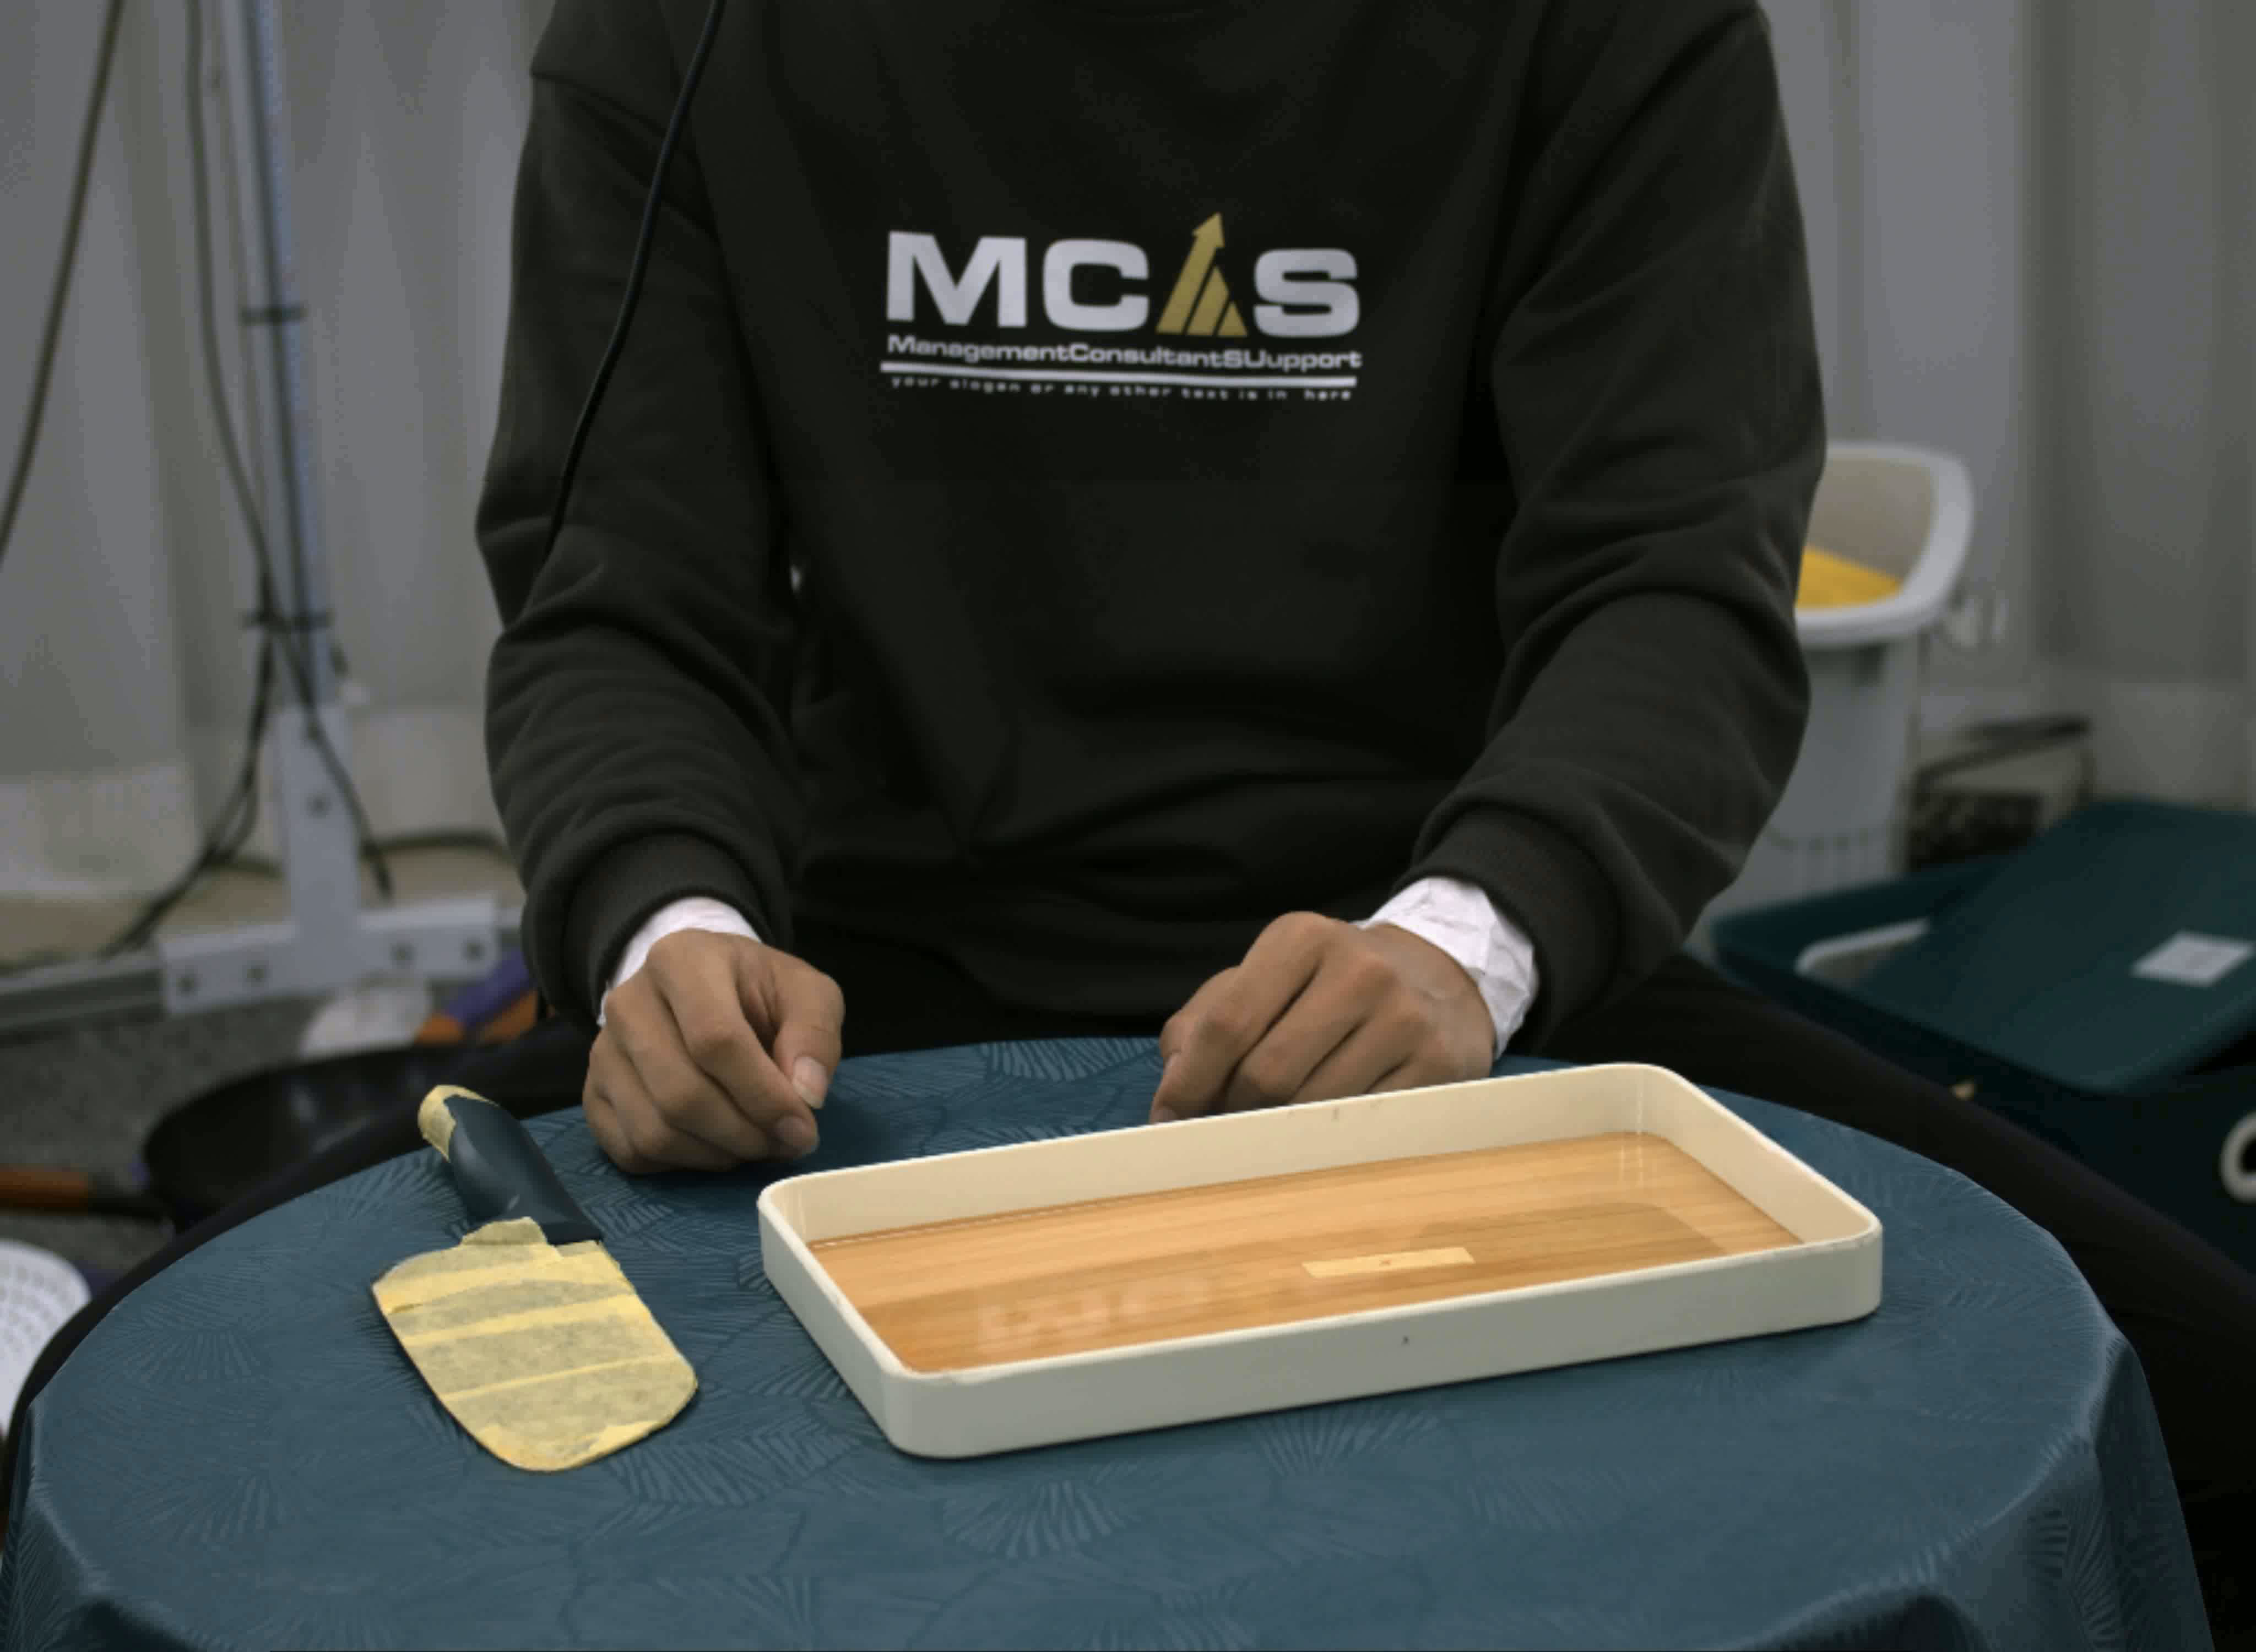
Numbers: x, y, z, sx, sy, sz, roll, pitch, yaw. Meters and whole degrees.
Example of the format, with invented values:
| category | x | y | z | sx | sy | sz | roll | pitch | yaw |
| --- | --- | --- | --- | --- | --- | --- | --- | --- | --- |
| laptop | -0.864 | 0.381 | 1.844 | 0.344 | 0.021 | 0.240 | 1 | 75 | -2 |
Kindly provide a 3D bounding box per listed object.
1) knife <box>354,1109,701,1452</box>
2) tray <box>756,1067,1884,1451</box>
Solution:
| category | x | y | z | sx | sy | sz | roll | pitch | yaw |
| --- | --- | --- | --- | --- | --- | --- | --- | --- | --- |
| knife | -0.190 | 0.137 | 1.642 | 0.080 | 0.027 | 0.292 | -5 | 16 | -16 |
| tray | 0.053 | 0.125 | 1.618 | 0.299 | 0.027 | 0.193 | -7 | 14 | -15 |
